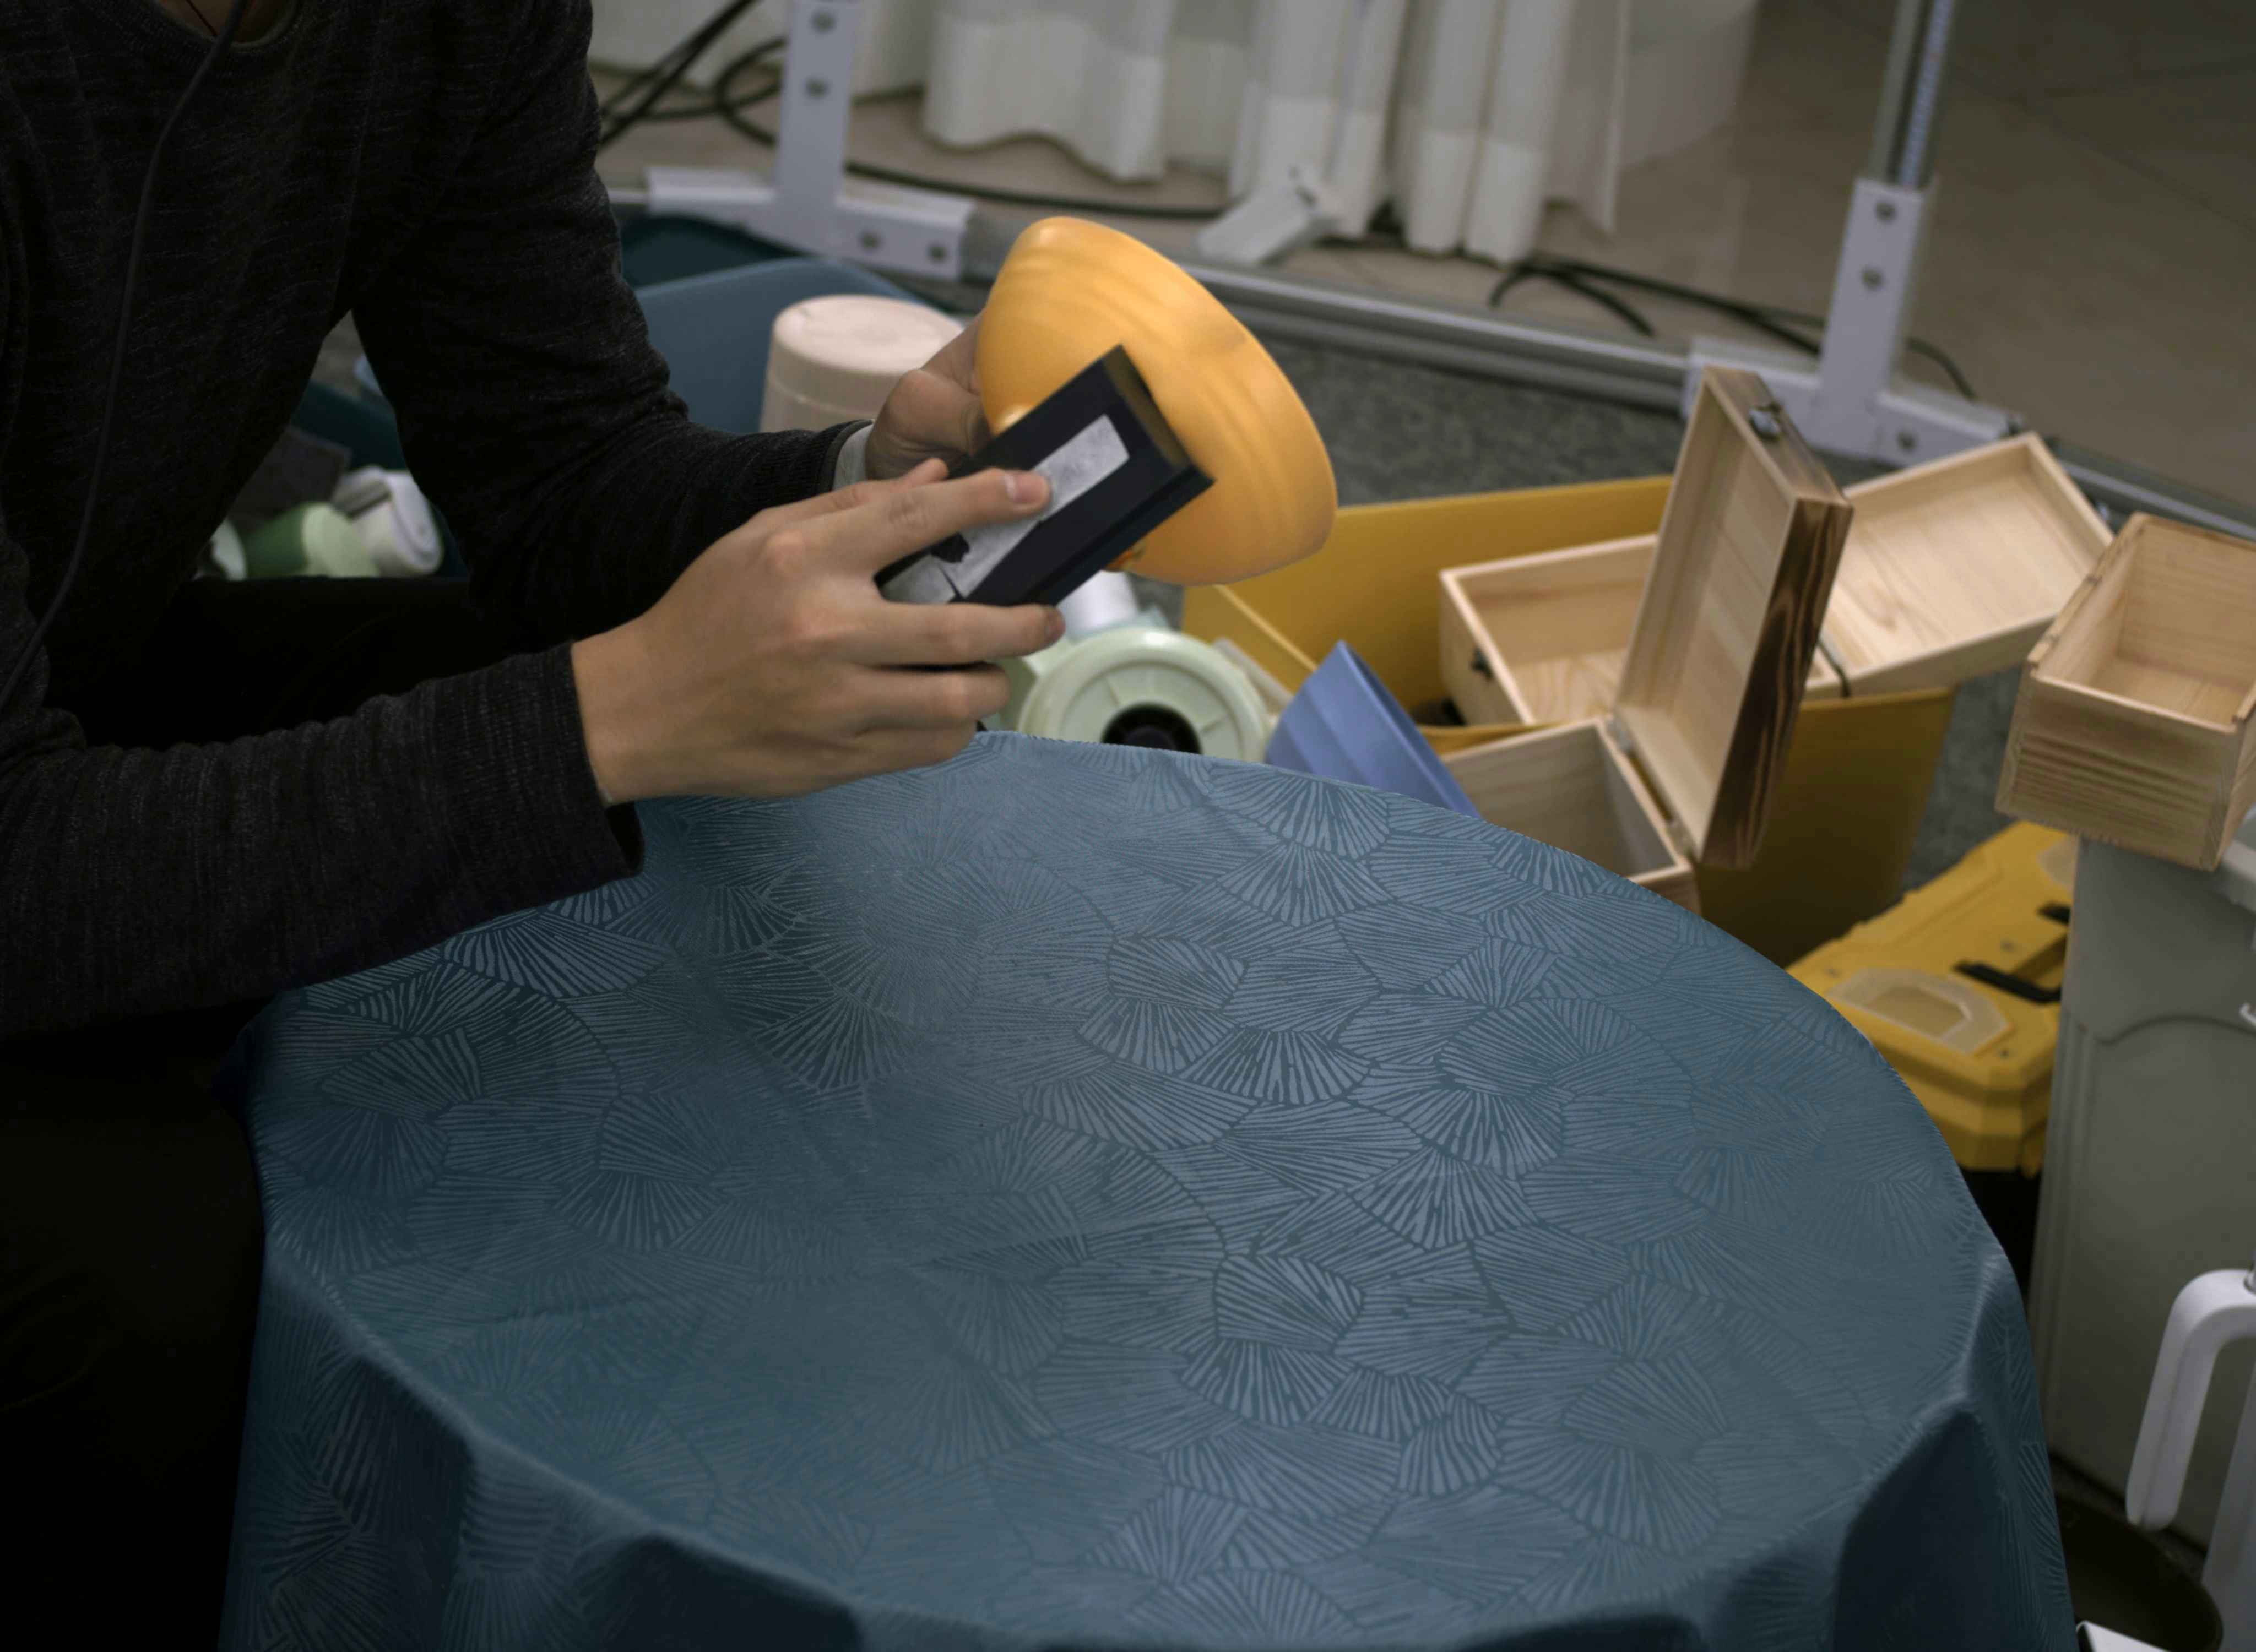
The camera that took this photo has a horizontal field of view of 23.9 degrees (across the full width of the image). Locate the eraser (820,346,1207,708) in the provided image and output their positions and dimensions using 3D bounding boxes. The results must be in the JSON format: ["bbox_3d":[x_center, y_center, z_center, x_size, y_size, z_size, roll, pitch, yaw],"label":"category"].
[{"bbox_3d":[-0.037,-0.096,1.714,0.054,0.125,0.030,55,15,15],"label":"eraser"}]

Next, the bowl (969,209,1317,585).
[{"bbox_3d":[-0.008,-0.130,1.774,0.060,0.144,0.146,-41,48,-20],"label":"bowl"}]
